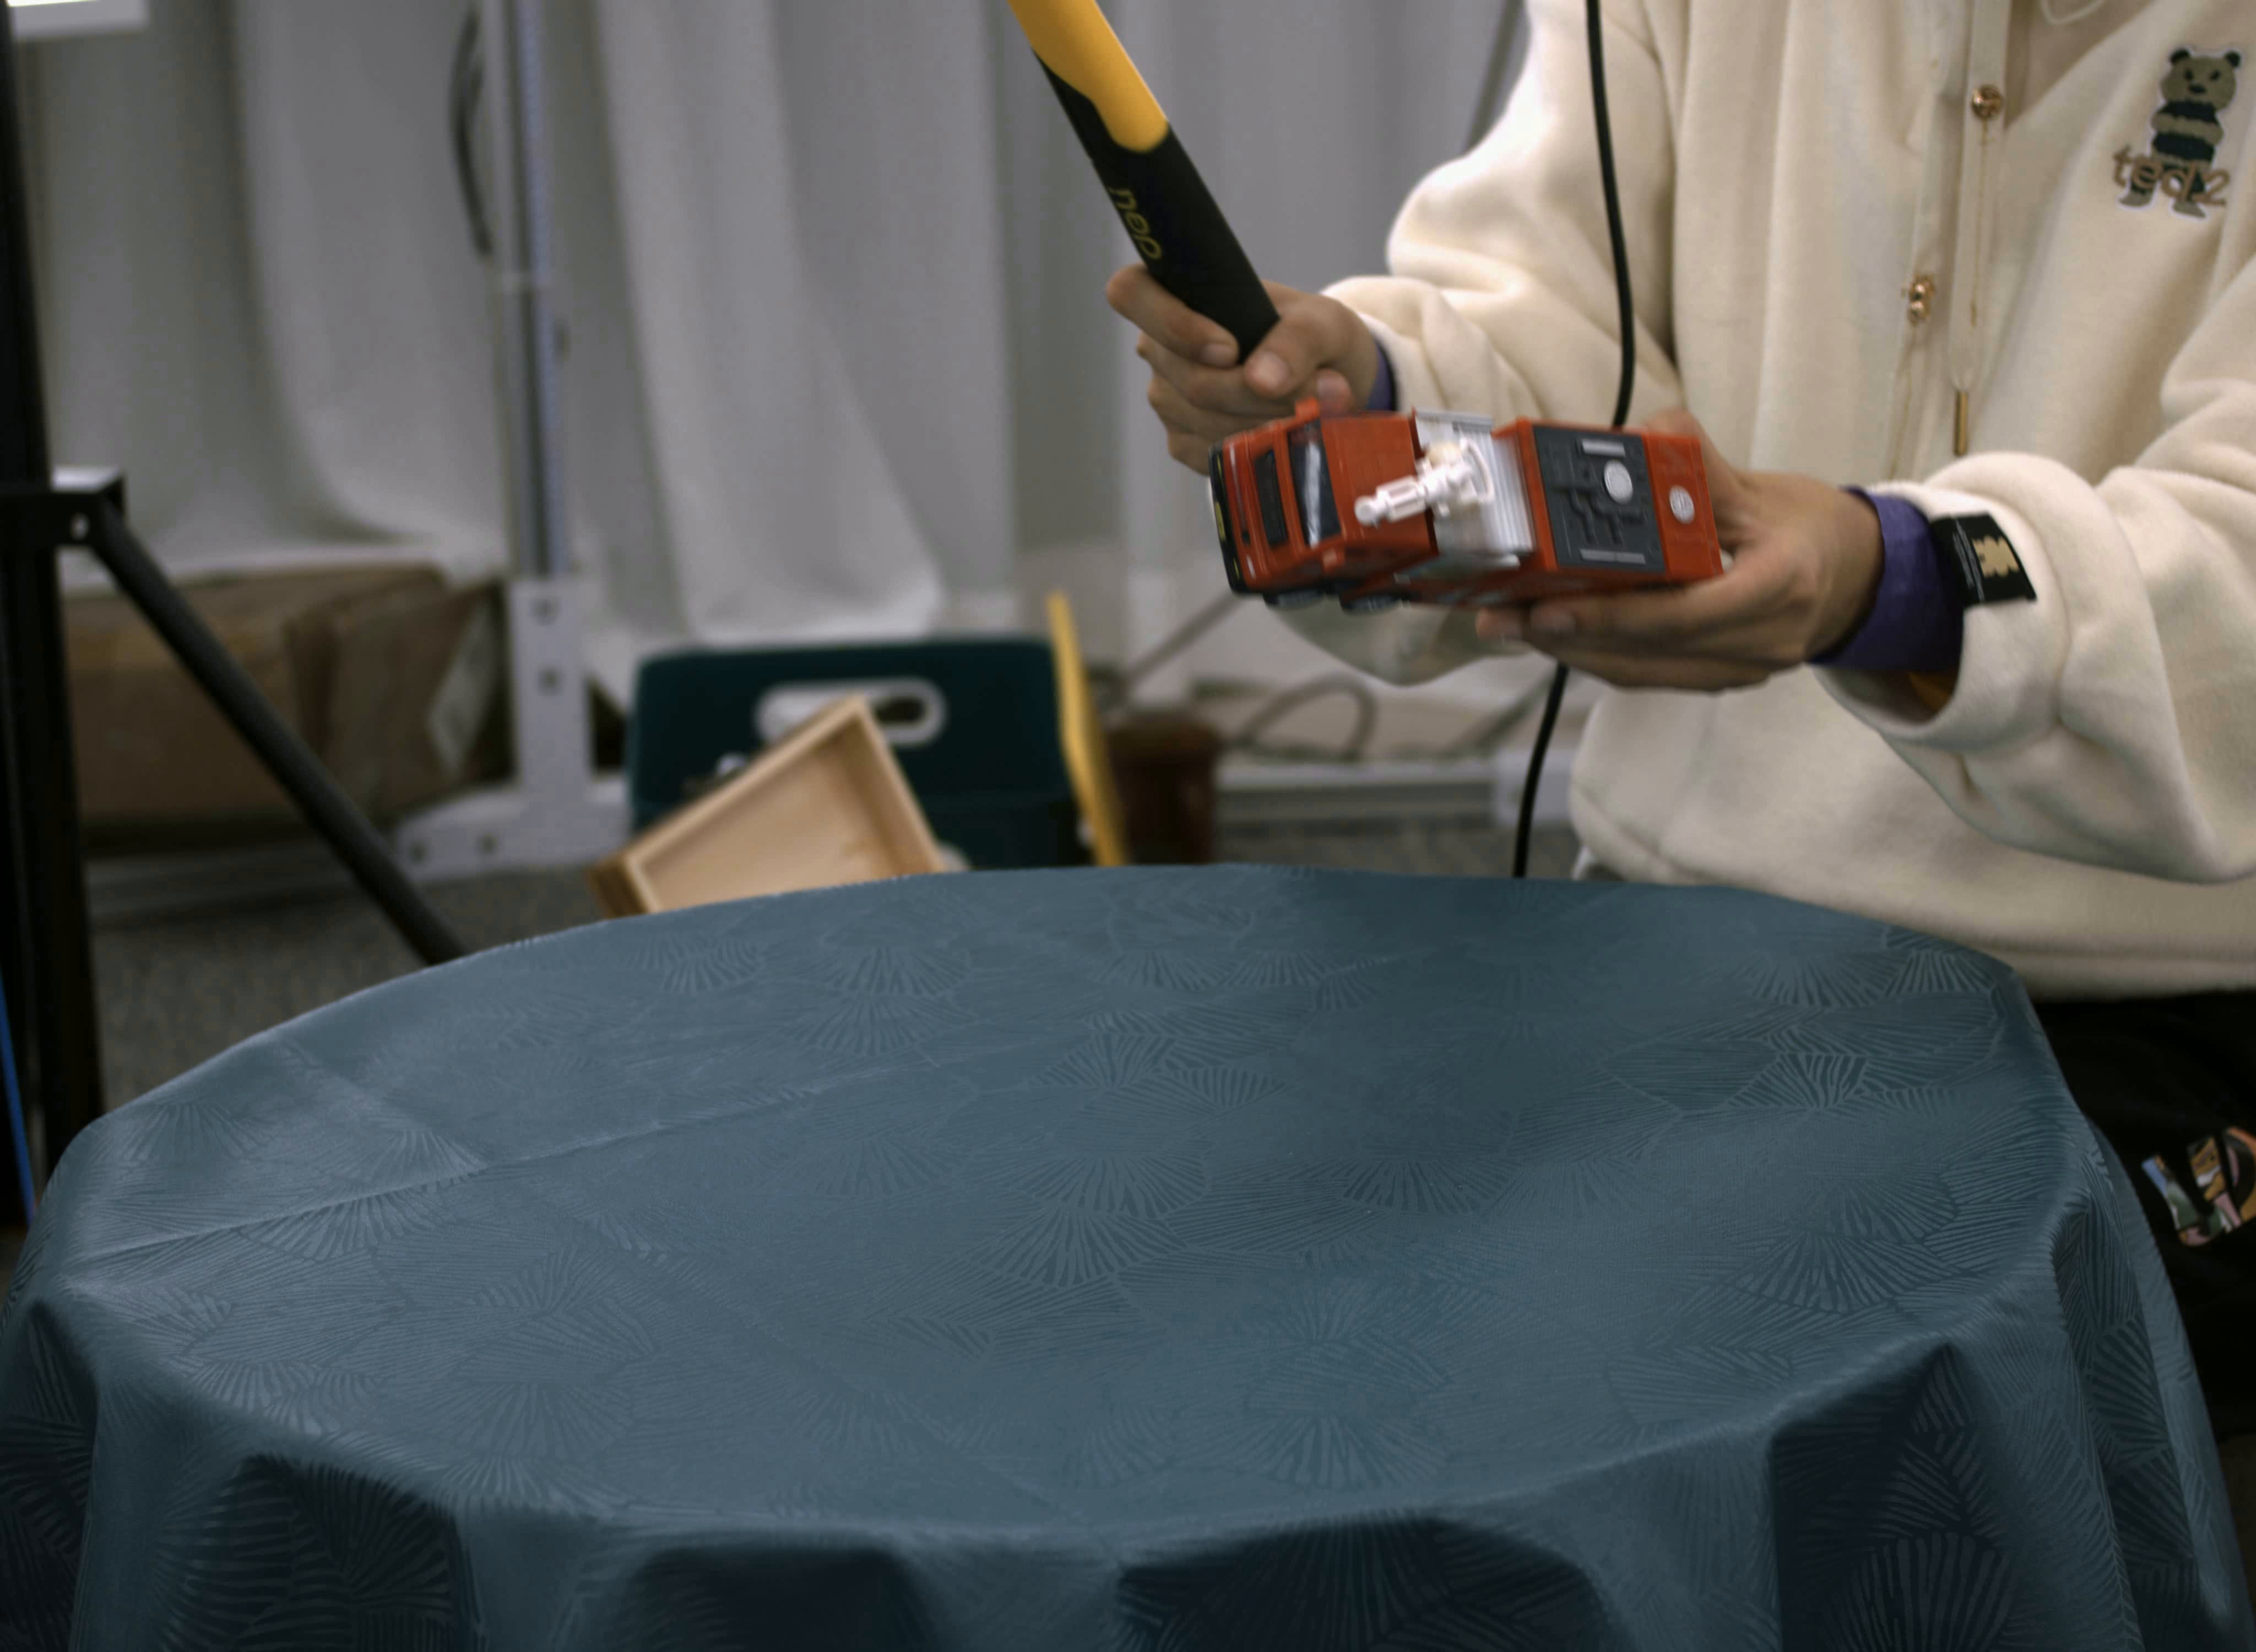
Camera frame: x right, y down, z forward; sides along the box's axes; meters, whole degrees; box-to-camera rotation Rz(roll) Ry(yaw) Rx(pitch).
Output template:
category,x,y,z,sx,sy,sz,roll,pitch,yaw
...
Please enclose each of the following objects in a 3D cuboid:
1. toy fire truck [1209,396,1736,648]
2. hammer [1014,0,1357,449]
category,x,y,z,sx,sy,sz,roll,pitch,yaw
toy fire truck,0.099,-0.084,1.498,0.163,0.054,0.071,2,-16,-41
hammer,-0.002,-0.228,1.691,0.134,0.333,0.032,12,53,49
